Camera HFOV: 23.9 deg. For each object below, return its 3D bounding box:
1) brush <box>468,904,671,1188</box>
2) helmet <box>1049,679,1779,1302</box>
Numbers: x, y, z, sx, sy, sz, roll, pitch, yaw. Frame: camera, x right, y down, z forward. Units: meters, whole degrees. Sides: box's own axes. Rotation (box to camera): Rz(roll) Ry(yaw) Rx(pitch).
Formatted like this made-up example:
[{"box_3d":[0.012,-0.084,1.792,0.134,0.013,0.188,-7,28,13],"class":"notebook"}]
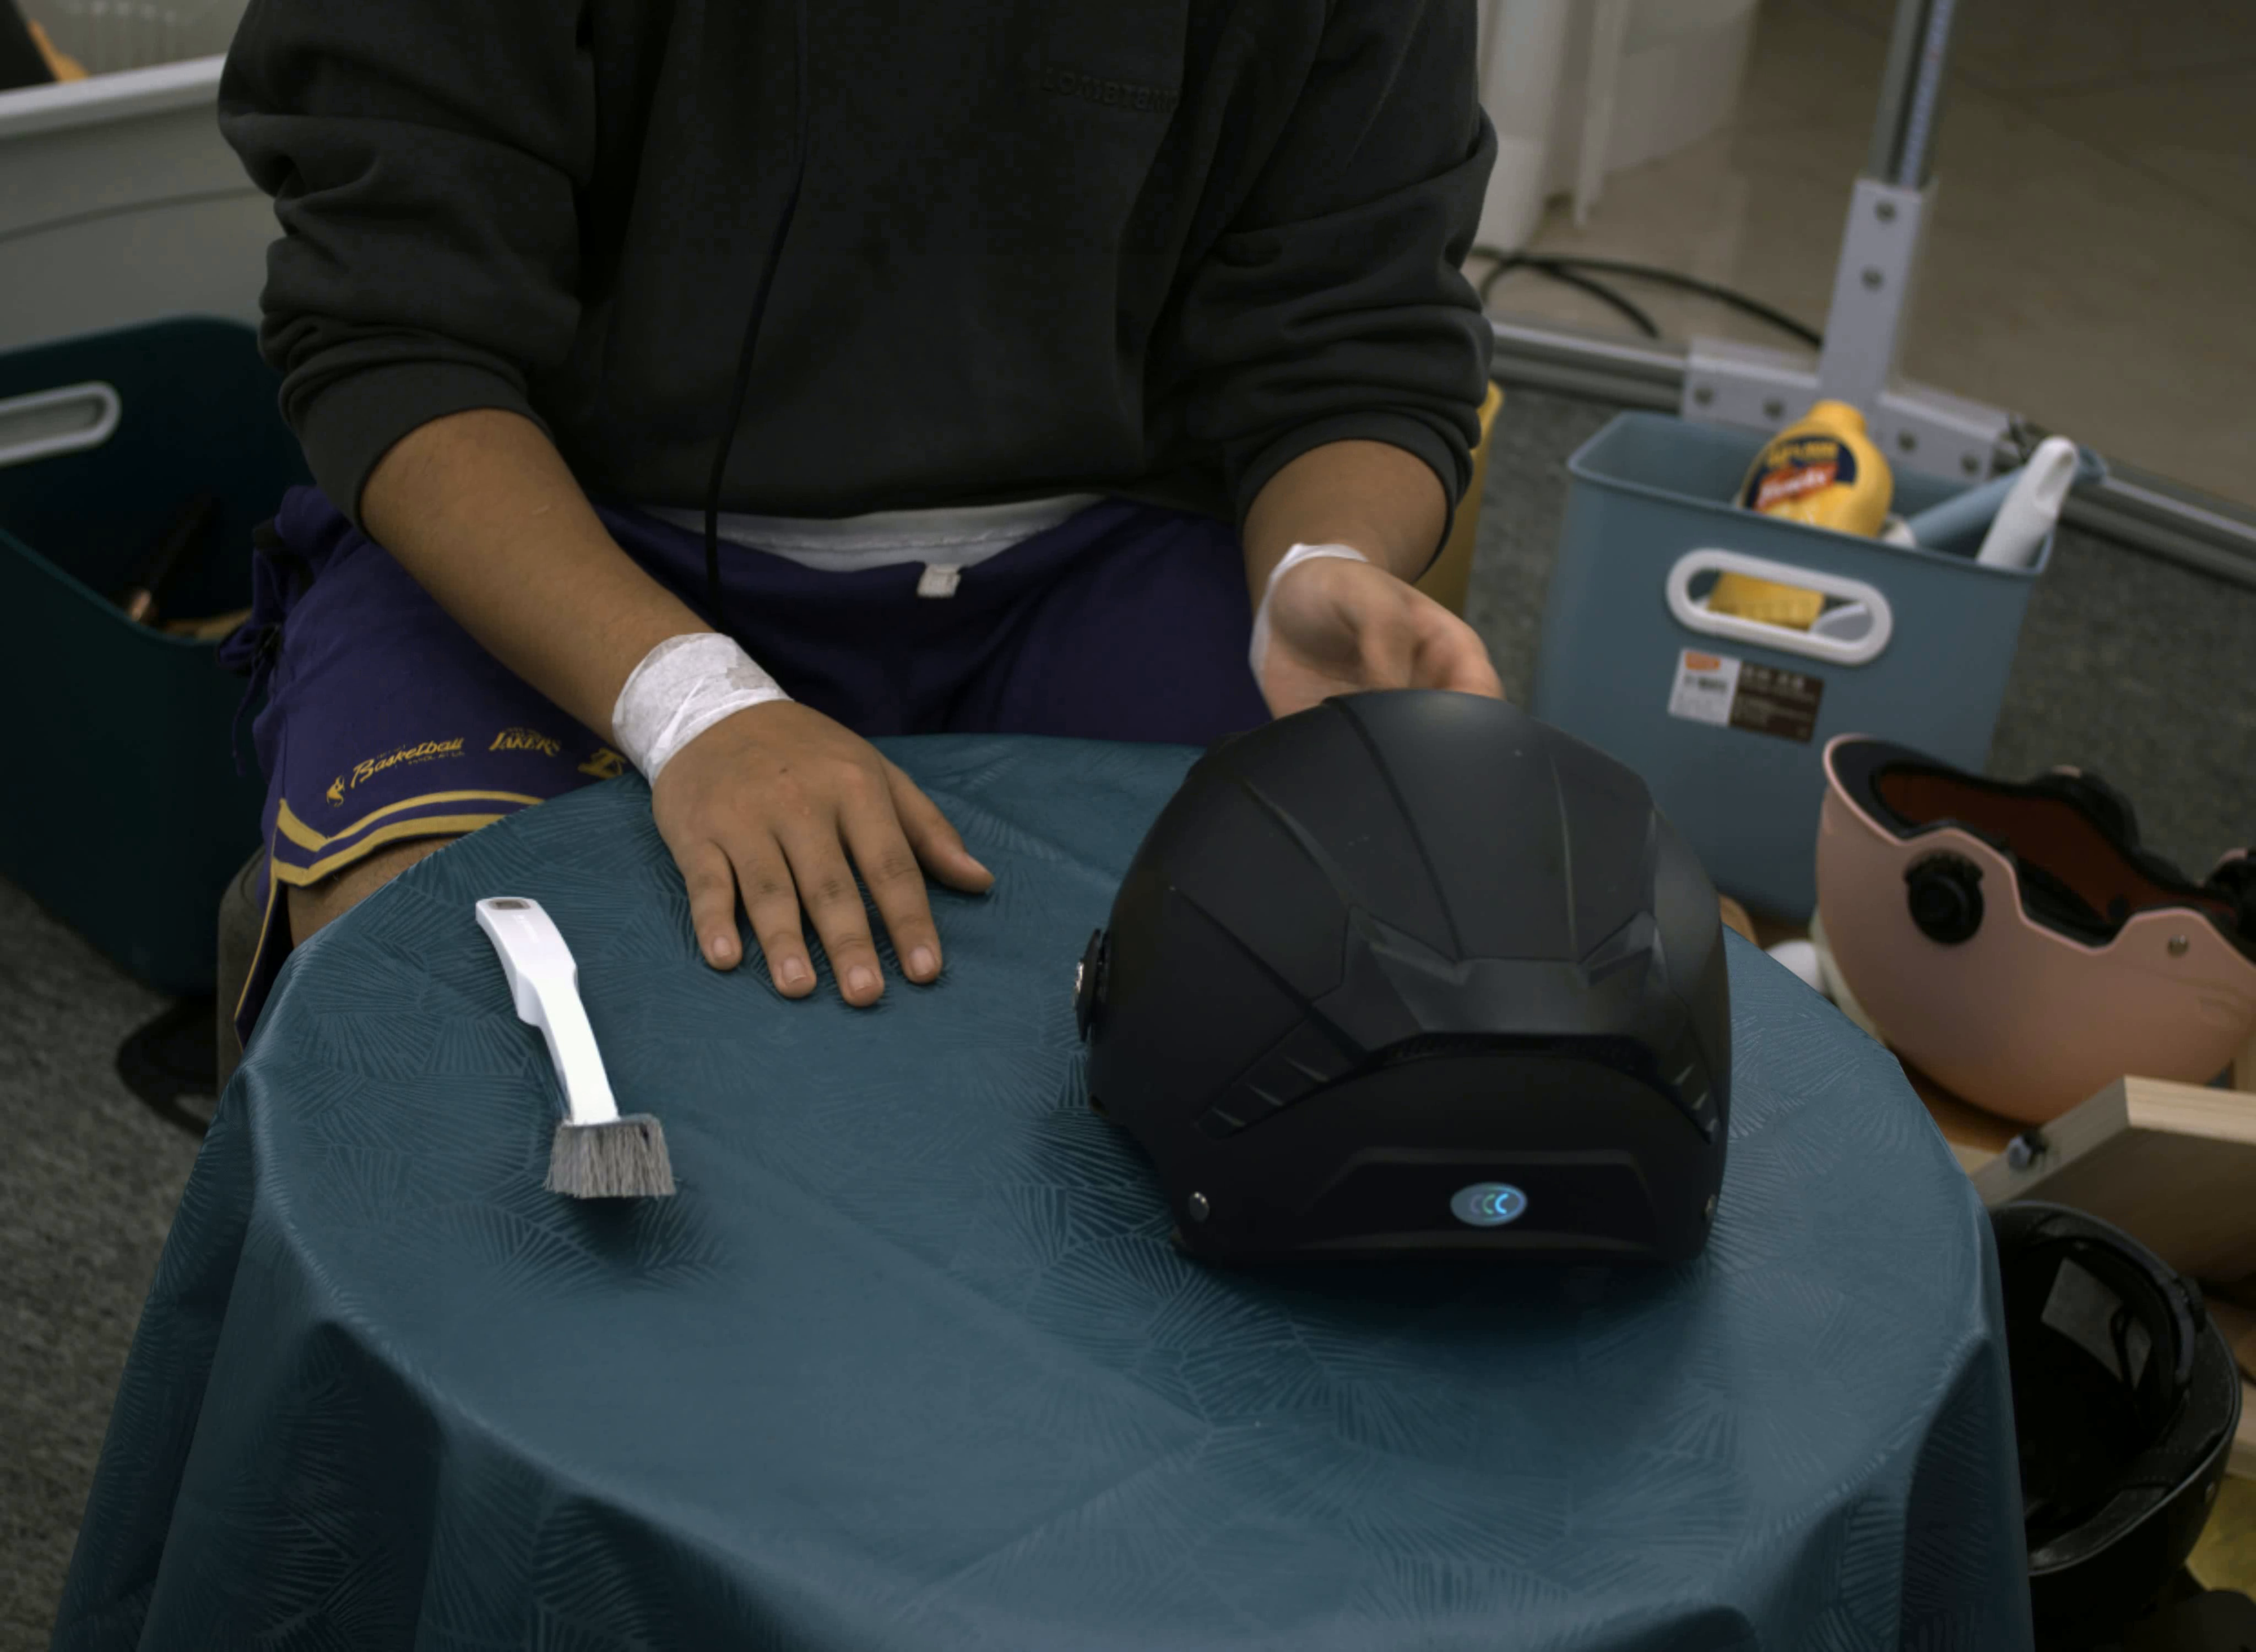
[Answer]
[{"box_3d":[-0.195,0.078,1.822,0.034,0.050,0.245,-3,15,-17],"class":"brush"},{"box_3d":[0.105,0.039,1.816,0.245,0.172,0.279,3,30,-9],"class":"helmet"}]
